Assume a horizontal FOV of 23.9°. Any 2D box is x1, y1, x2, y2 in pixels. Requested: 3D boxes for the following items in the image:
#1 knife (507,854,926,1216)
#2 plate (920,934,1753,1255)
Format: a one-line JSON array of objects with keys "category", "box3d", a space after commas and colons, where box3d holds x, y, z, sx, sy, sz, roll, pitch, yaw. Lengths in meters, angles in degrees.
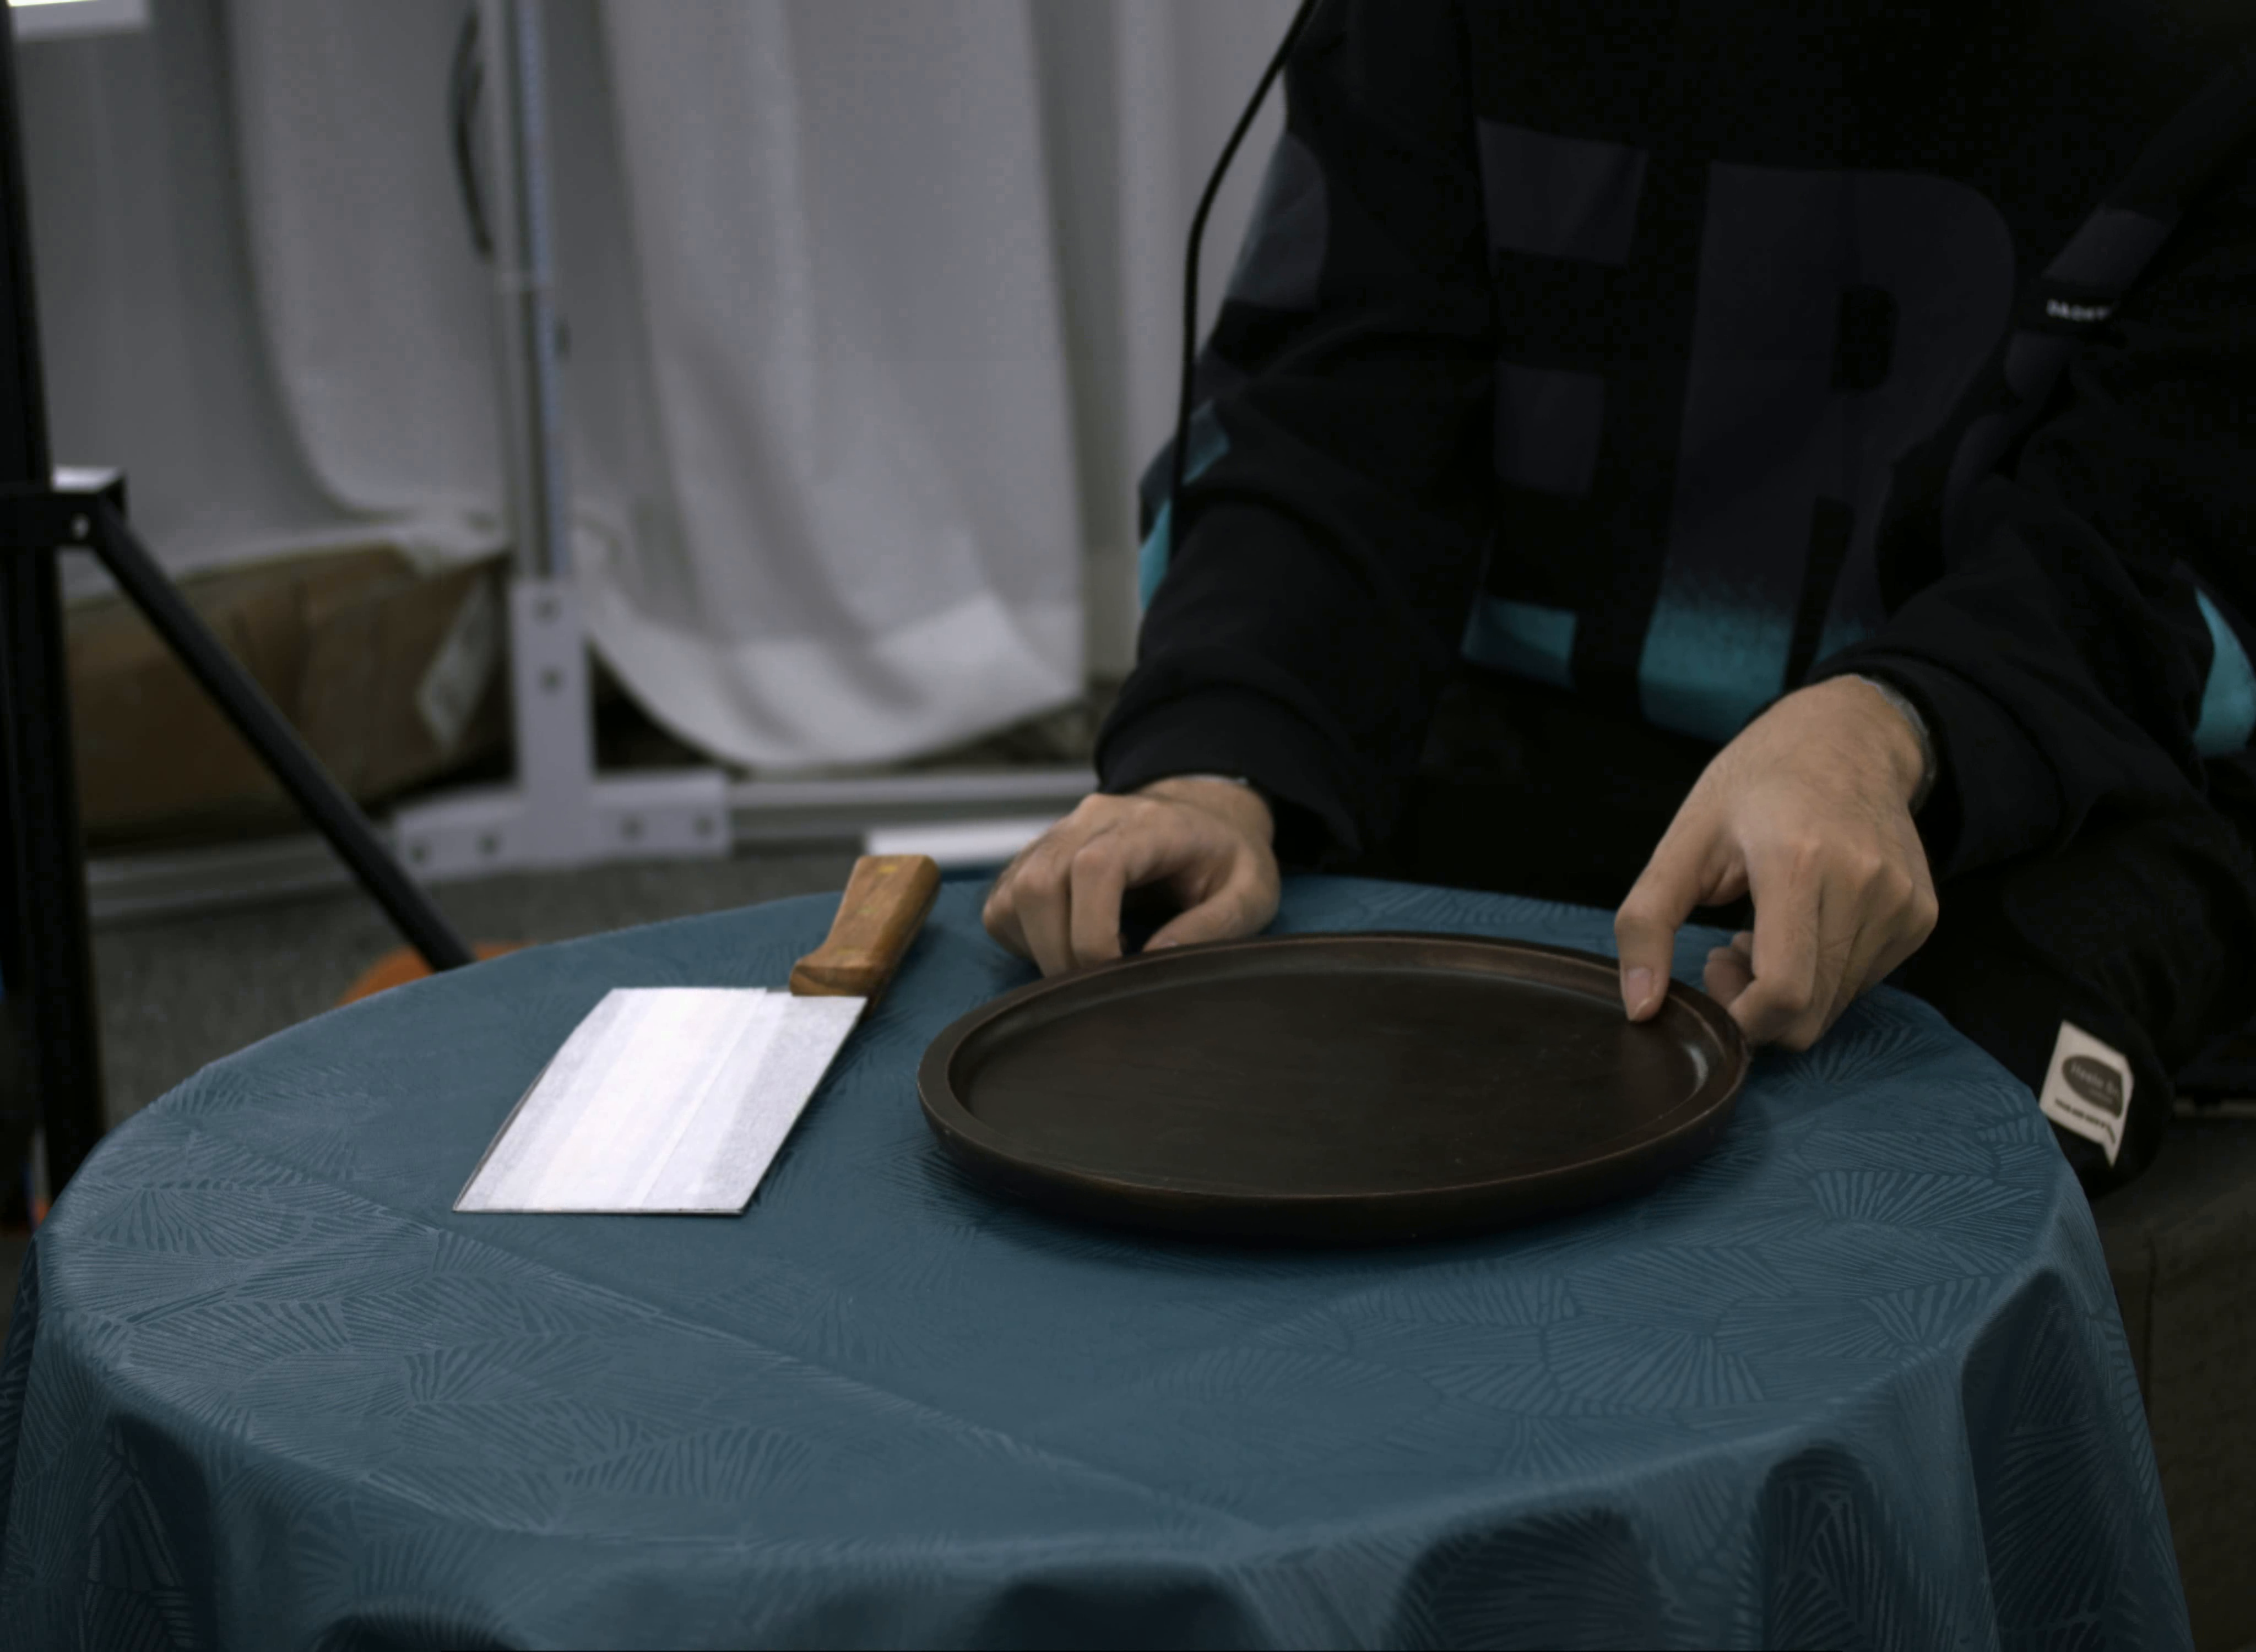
[{"category": "knife", "box3d": [-0.130, 0.065, 1.704, 0.093, 0.021, 0.305, -1, 18, 10]}, {"category": "plate", "box3d": [0.063, 0.078, 1.606, 0.253, 0.029, 0.256, -2, 16, -1]}]
